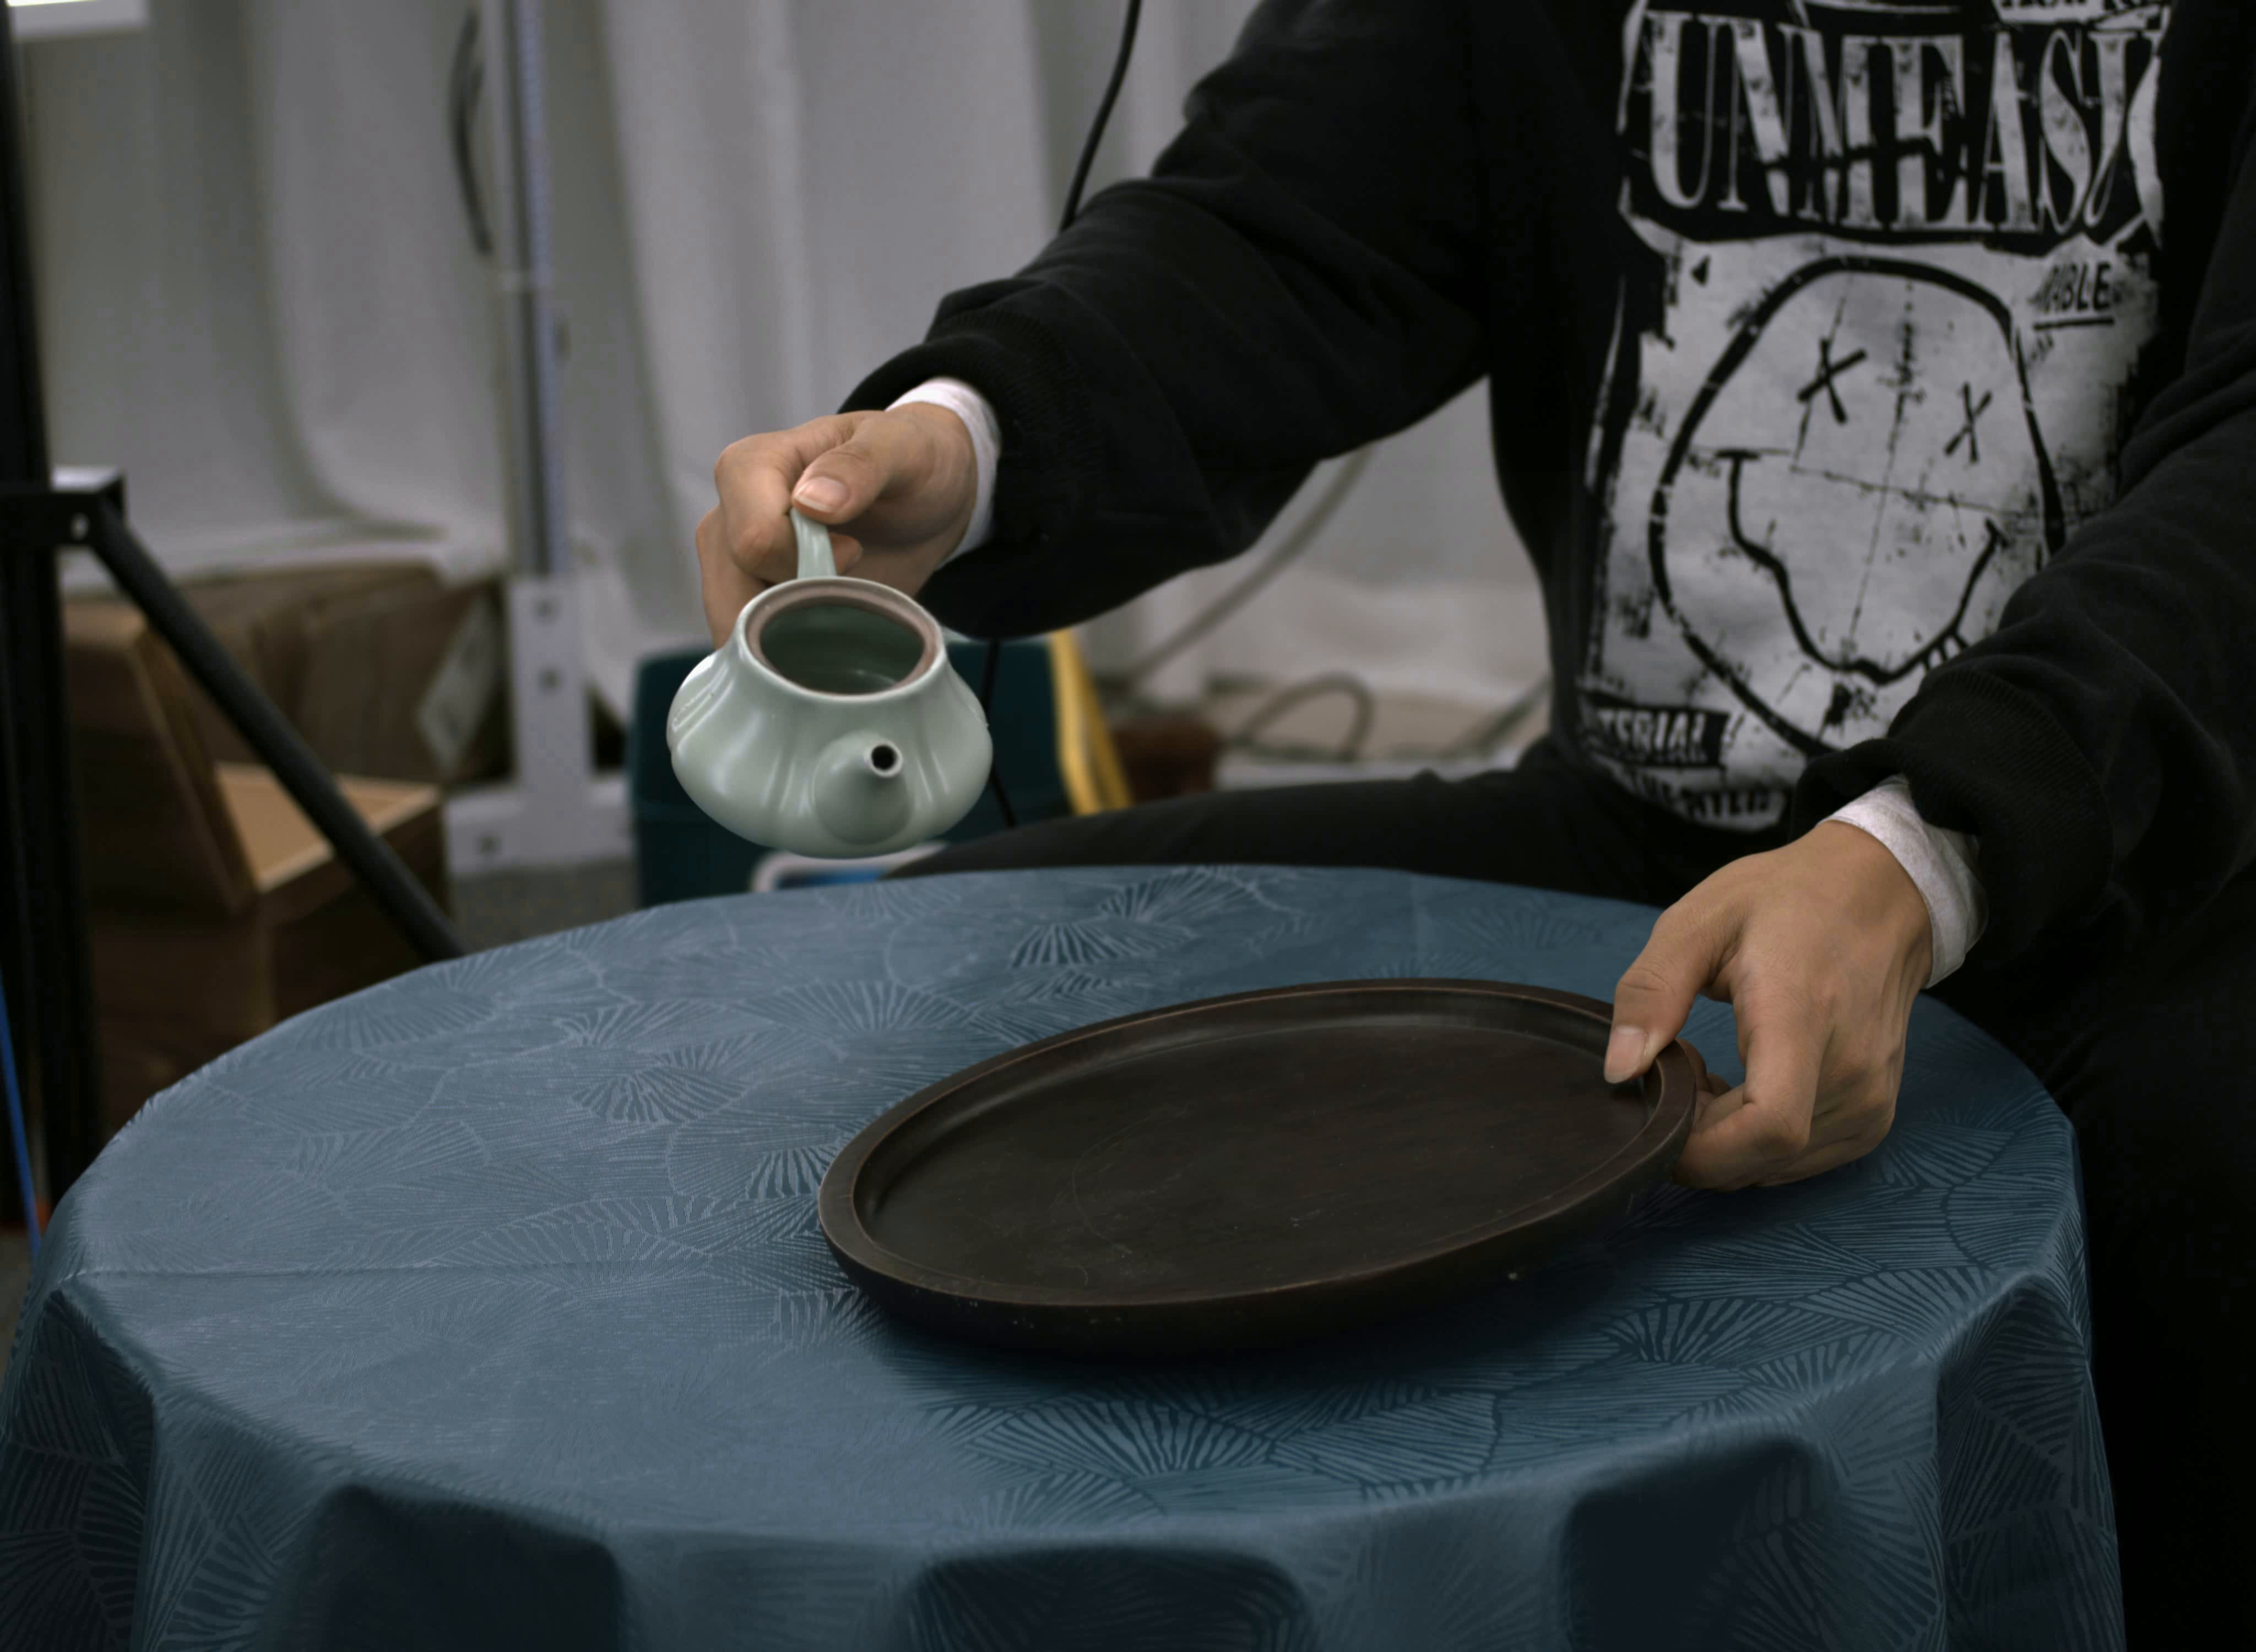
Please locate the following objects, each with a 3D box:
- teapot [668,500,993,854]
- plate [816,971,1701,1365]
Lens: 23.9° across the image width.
[{"bbox_3d":[-0.088,-0.039,1.574,0.095,0.061,0.139,-6,40,-14],"label":"teapot"},{"bbox_3d":[0.037,0.095,1.501,0.254,0.029,0.256,-11,17,2],"label":"plate"}]
